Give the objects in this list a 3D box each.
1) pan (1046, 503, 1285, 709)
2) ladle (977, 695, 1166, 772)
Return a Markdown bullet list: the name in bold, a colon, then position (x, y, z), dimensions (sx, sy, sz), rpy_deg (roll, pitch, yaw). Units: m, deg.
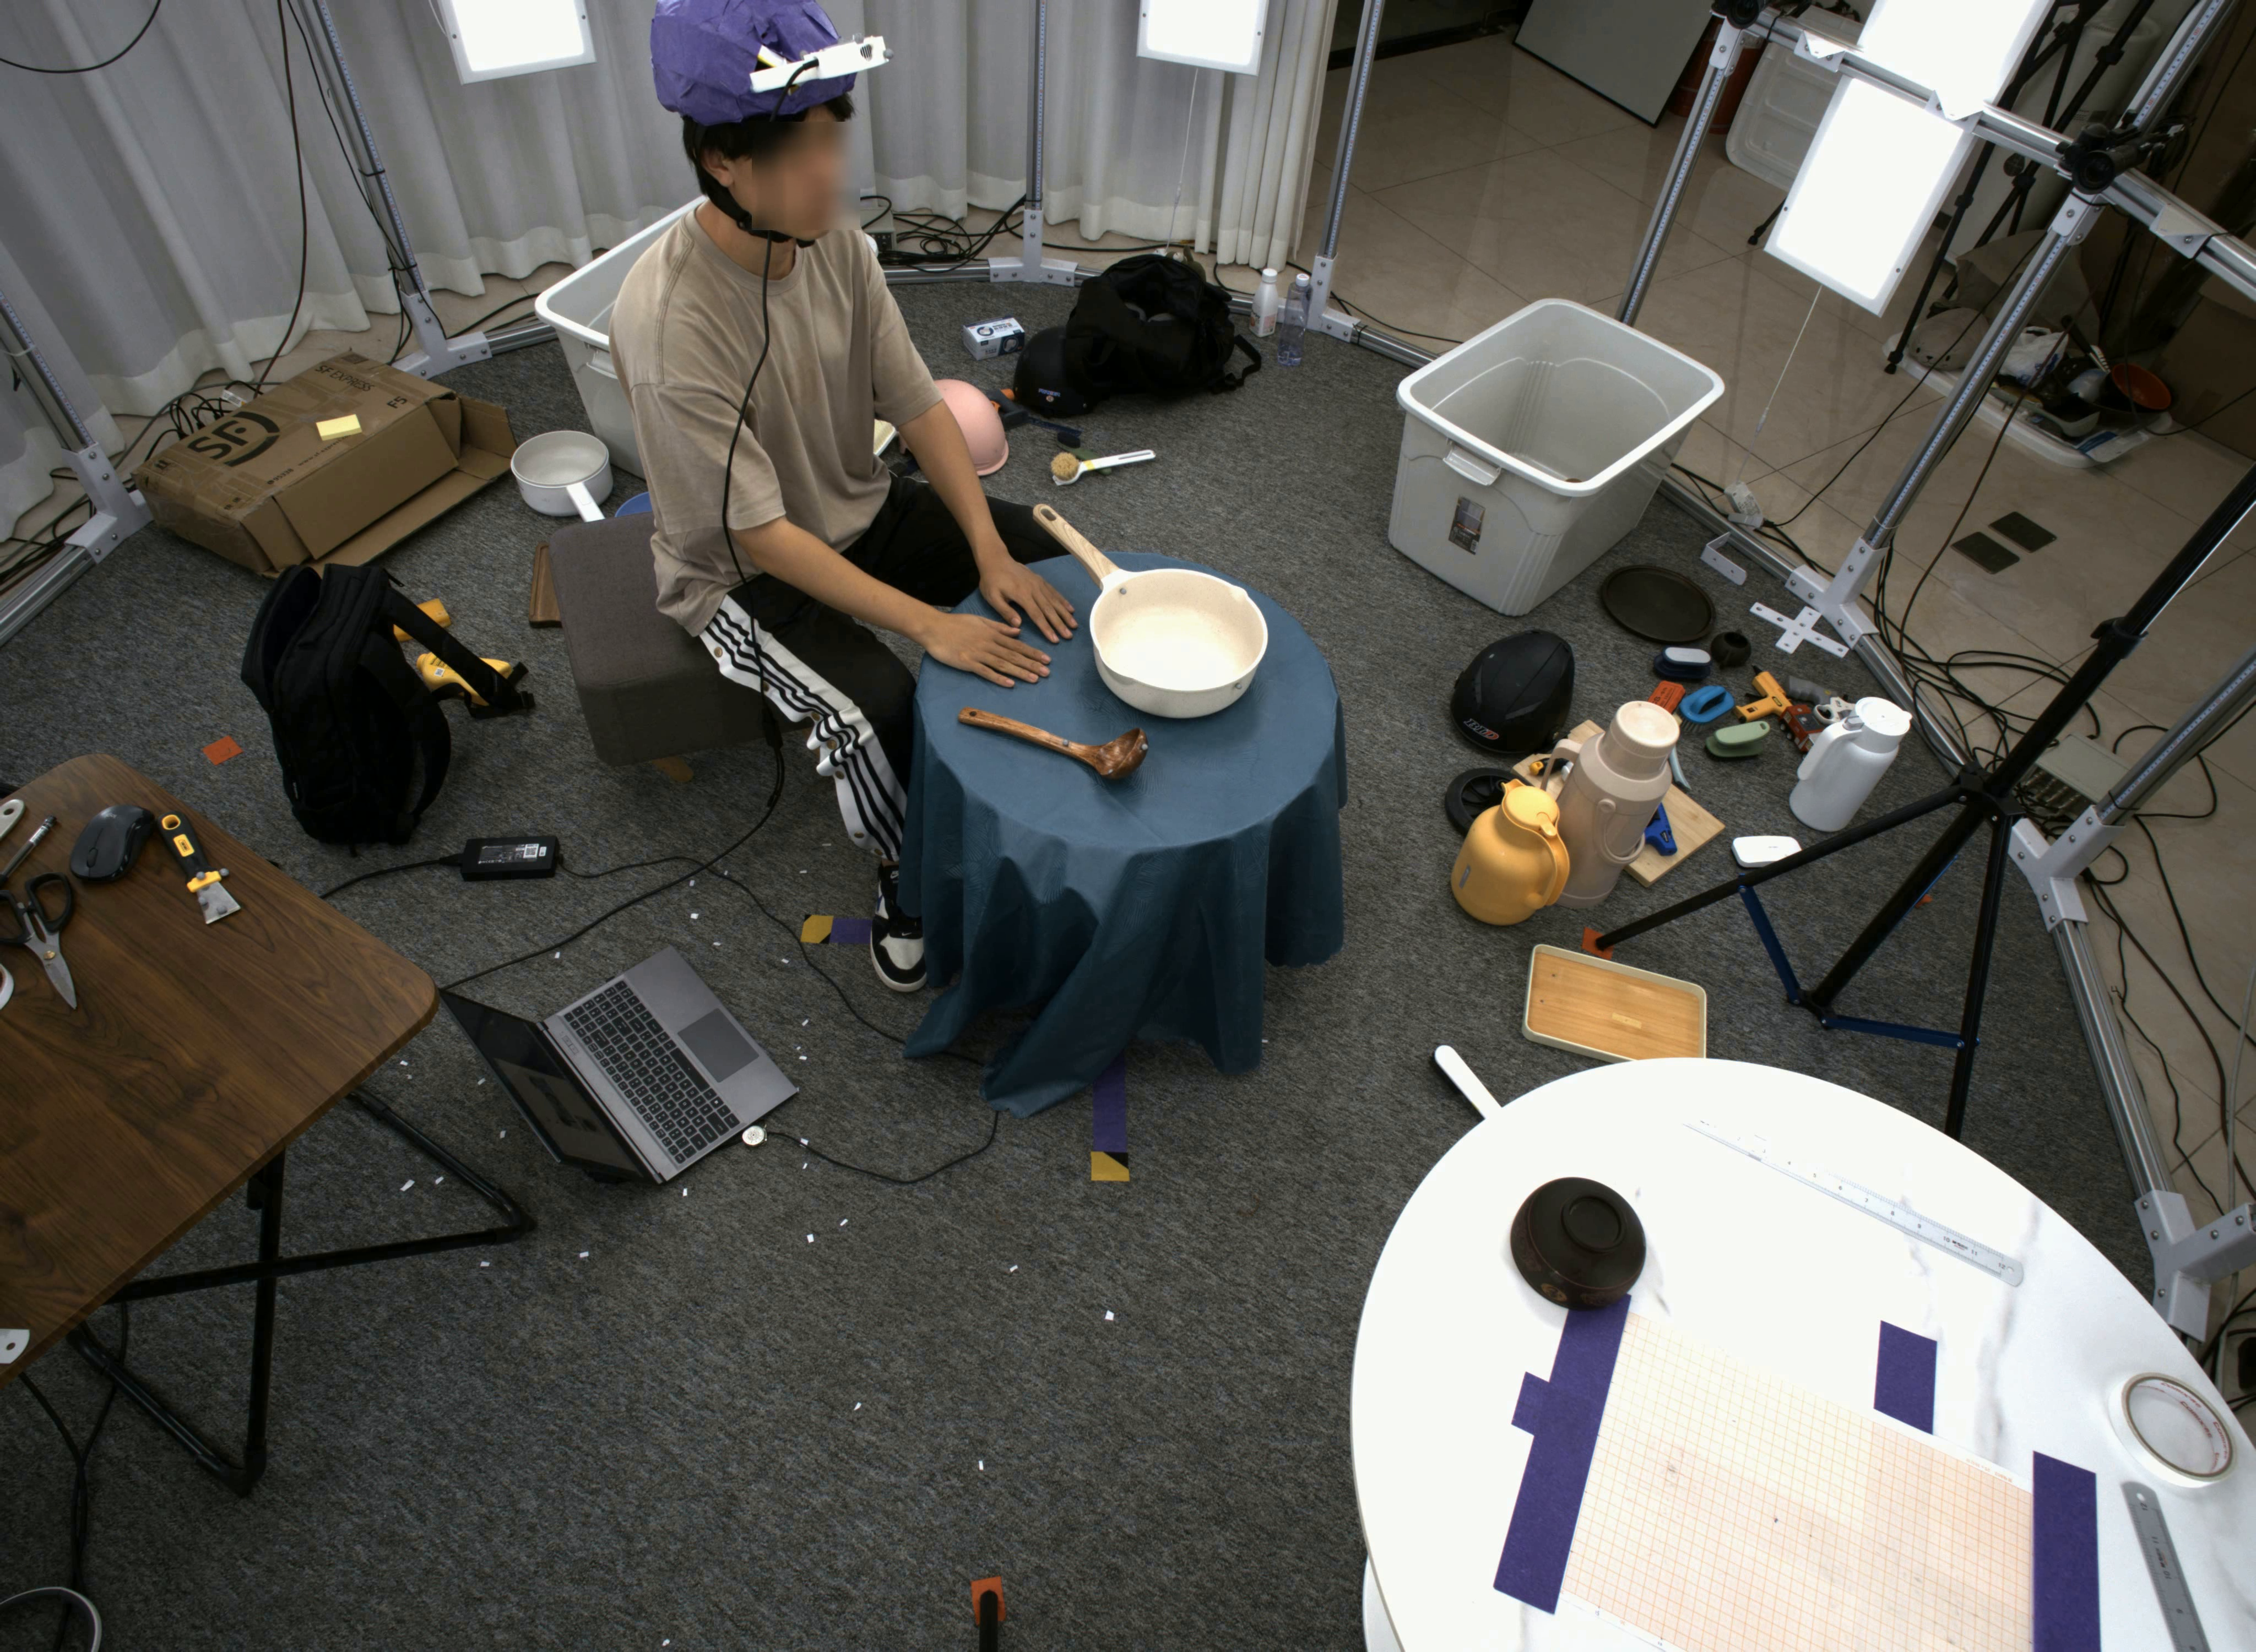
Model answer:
- **pan**: position (0.032, -0.327, 1.878), dimensions (0.265, 0.099, 0.442), rpy_deg (-34, 59, -28)
- **ladle**: position (-0.081, -0.141, 1.716), dimensions (0.275, 0.075, 0.083), rpy_deg (21, 52, 13)
